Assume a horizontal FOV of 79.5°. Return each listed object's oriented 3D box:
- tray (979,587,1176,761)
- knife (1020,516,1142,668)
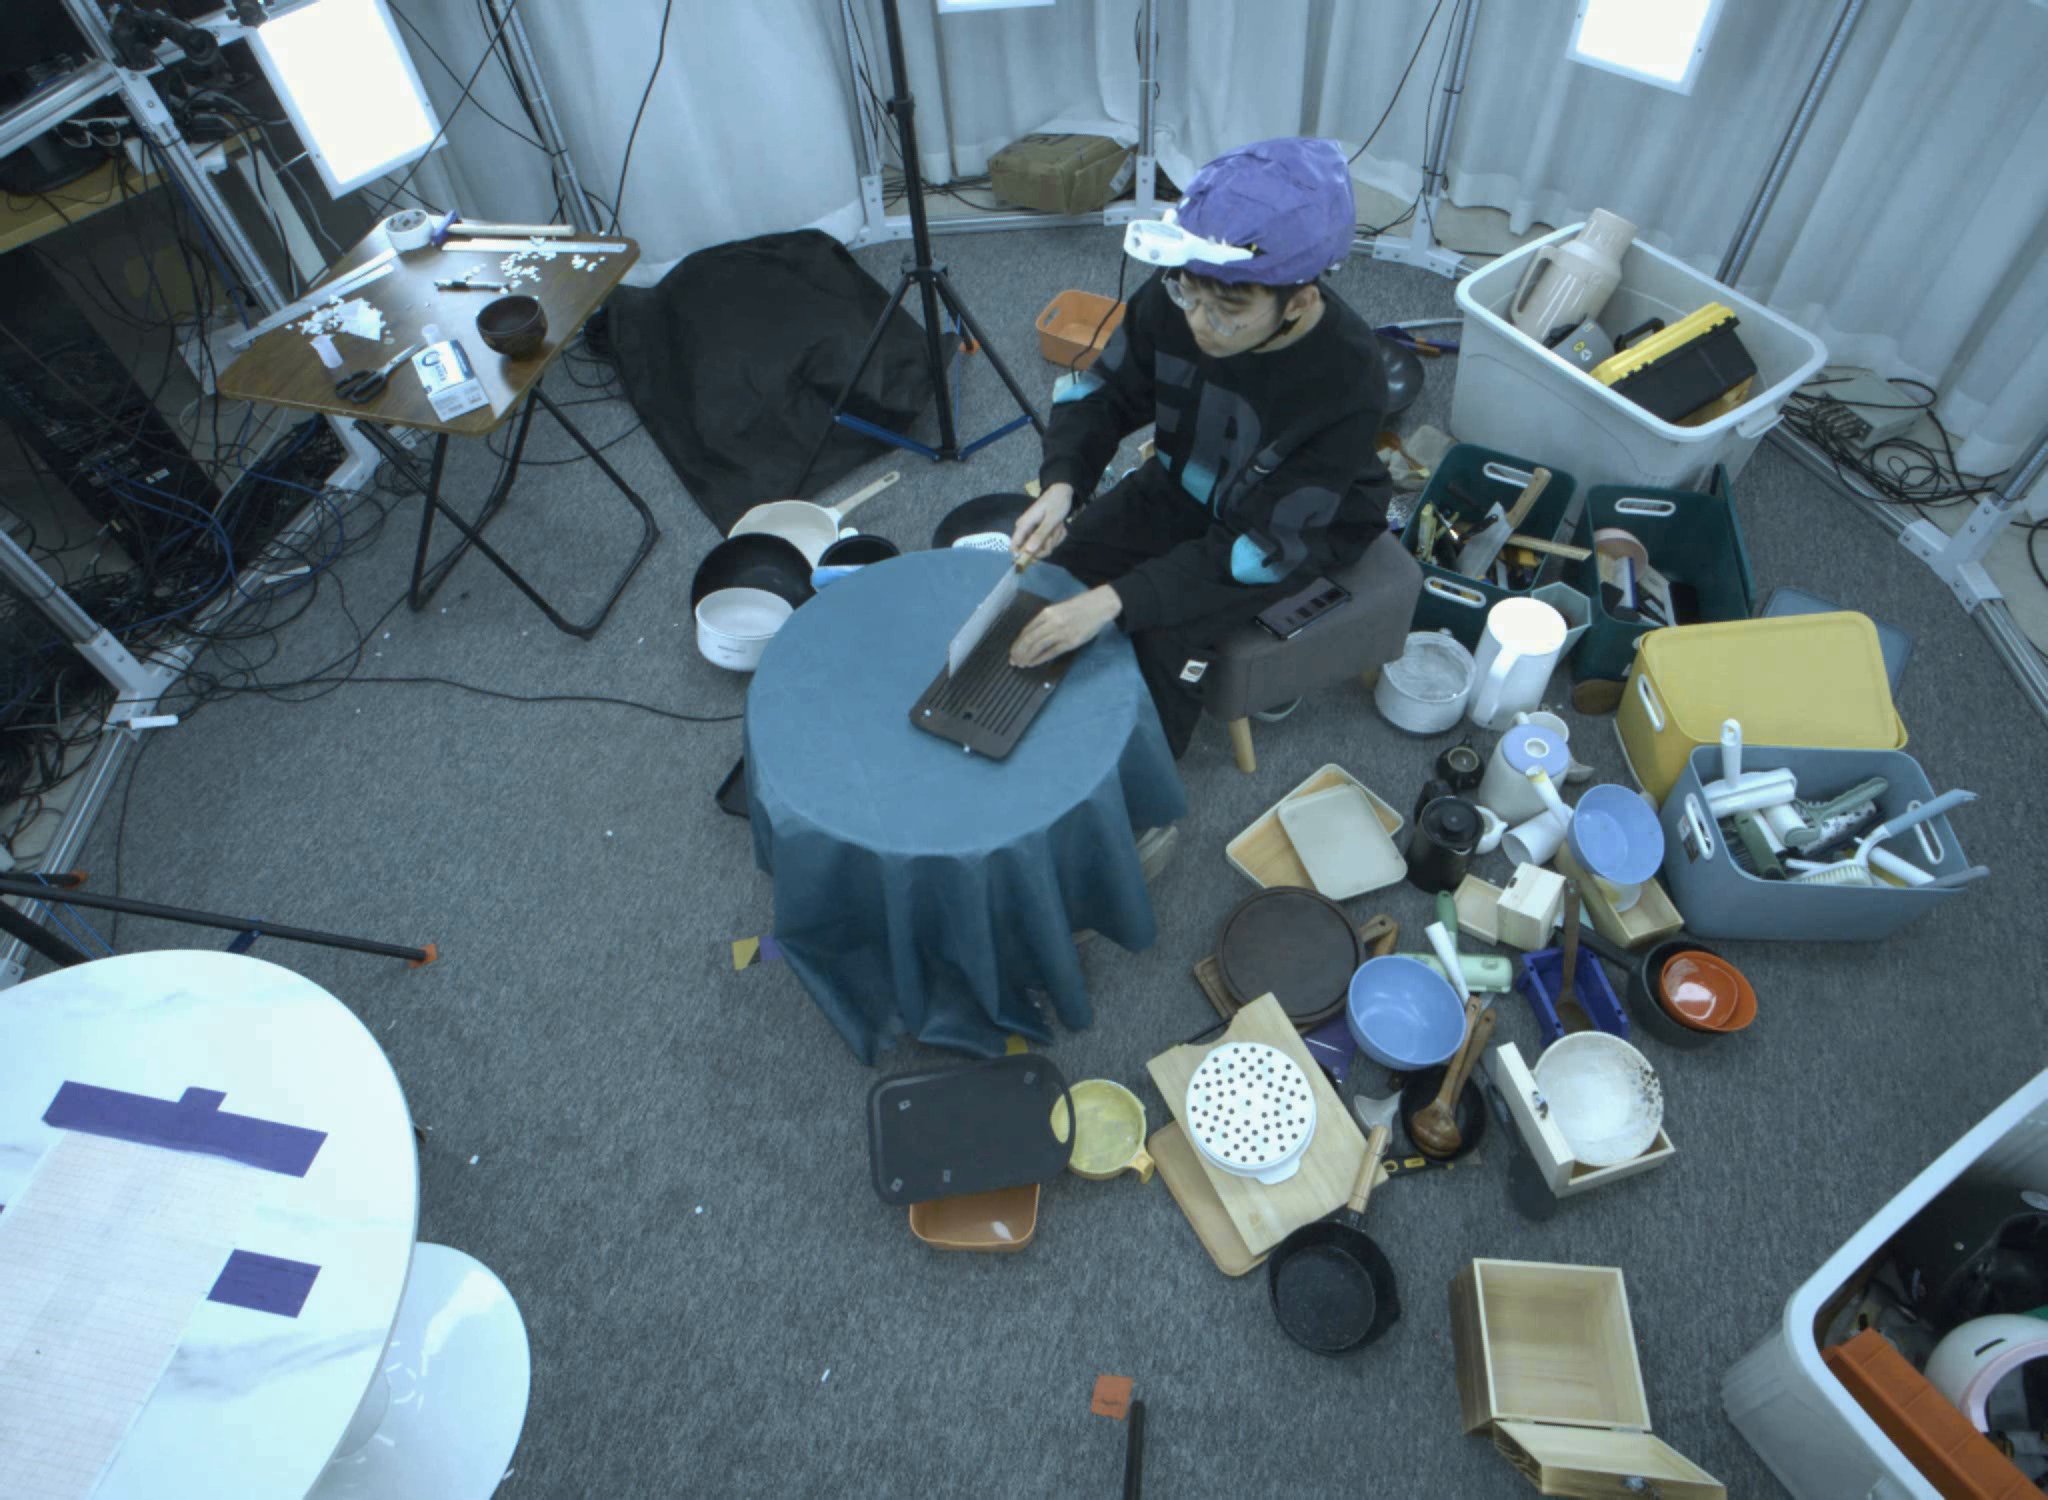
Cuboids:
[{"bbox_3d":[0.083,-0.119,1.857,0.167,0.019,0.307,28,61,21],"label":"tray"},{"bbox_3d":[0.086,-0.237,1.863,0.021,0.093,0.307,33,64,15],"label":"knife"}]
